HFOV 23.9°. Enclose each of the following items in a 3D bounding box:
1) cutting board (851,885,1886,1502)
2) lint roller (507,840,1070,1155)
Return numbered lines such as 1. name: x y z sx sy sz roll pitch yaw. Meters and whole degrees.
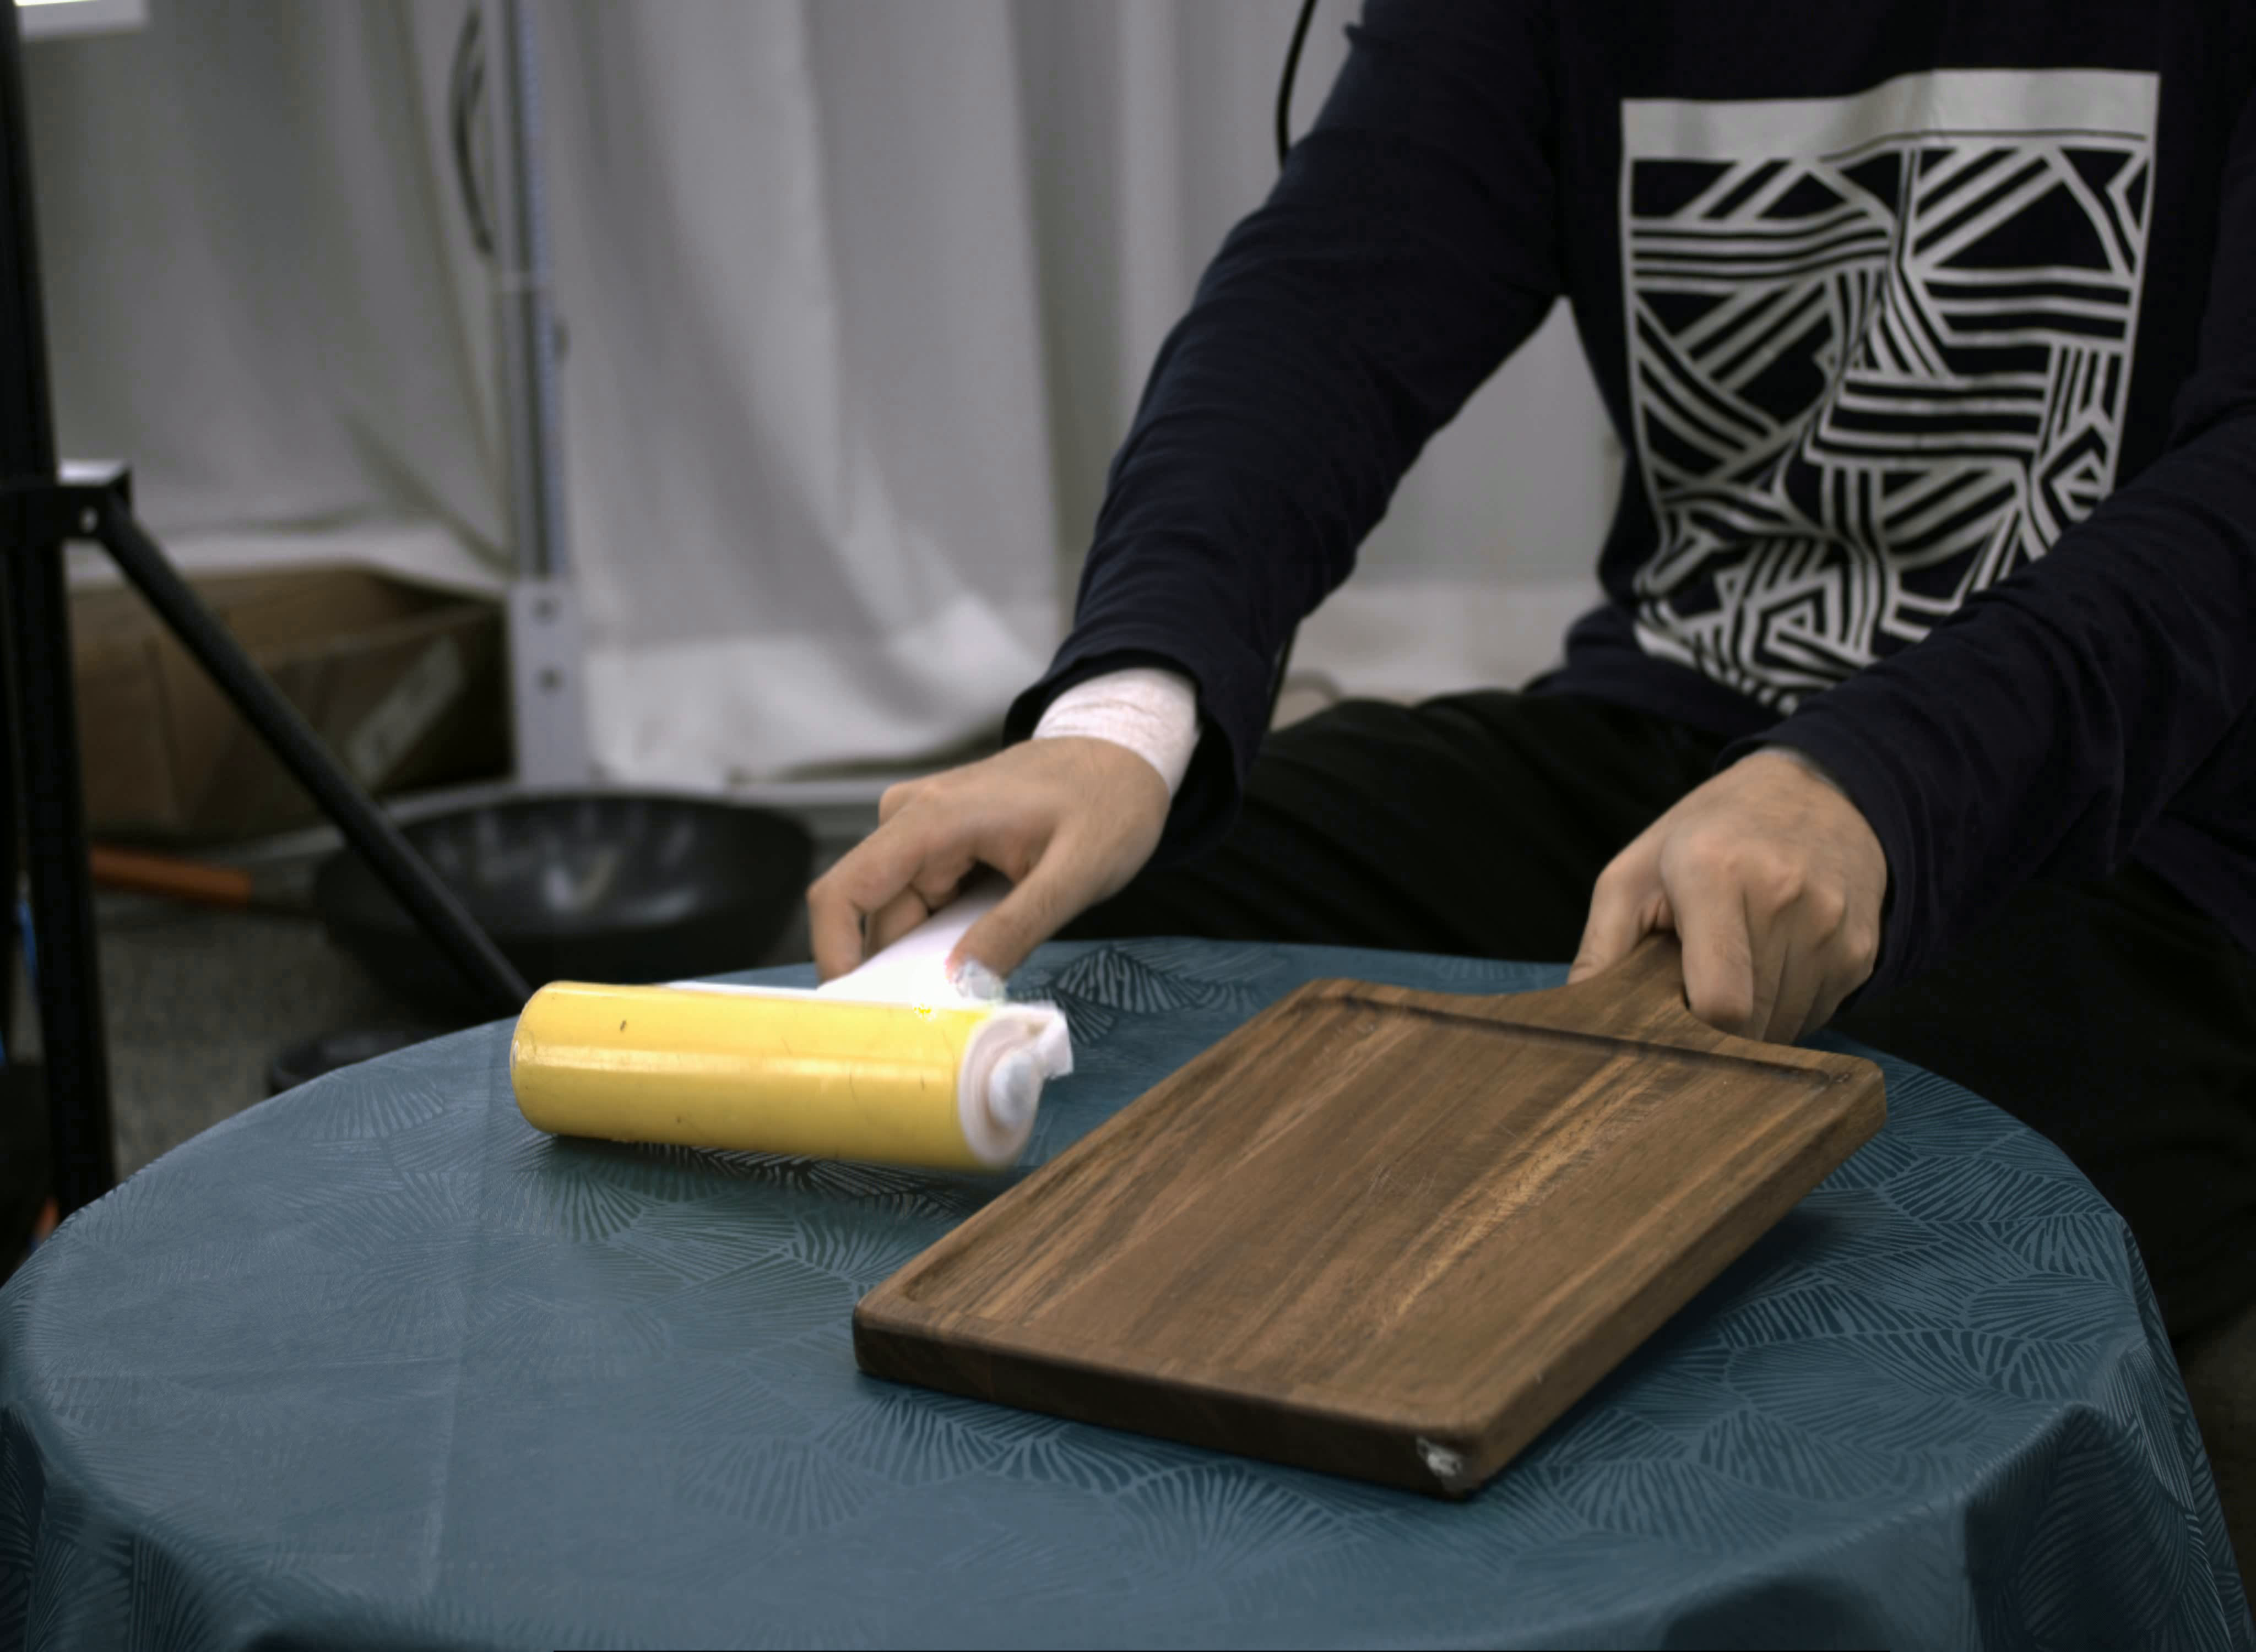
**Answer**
1. cutting board: 0.097 0.089 1.503 0.205 0.023 0.346 9 25 33
2. lint roller: -0.076 0.037 1.646 0.177 0.051 0.190 1 30 30
